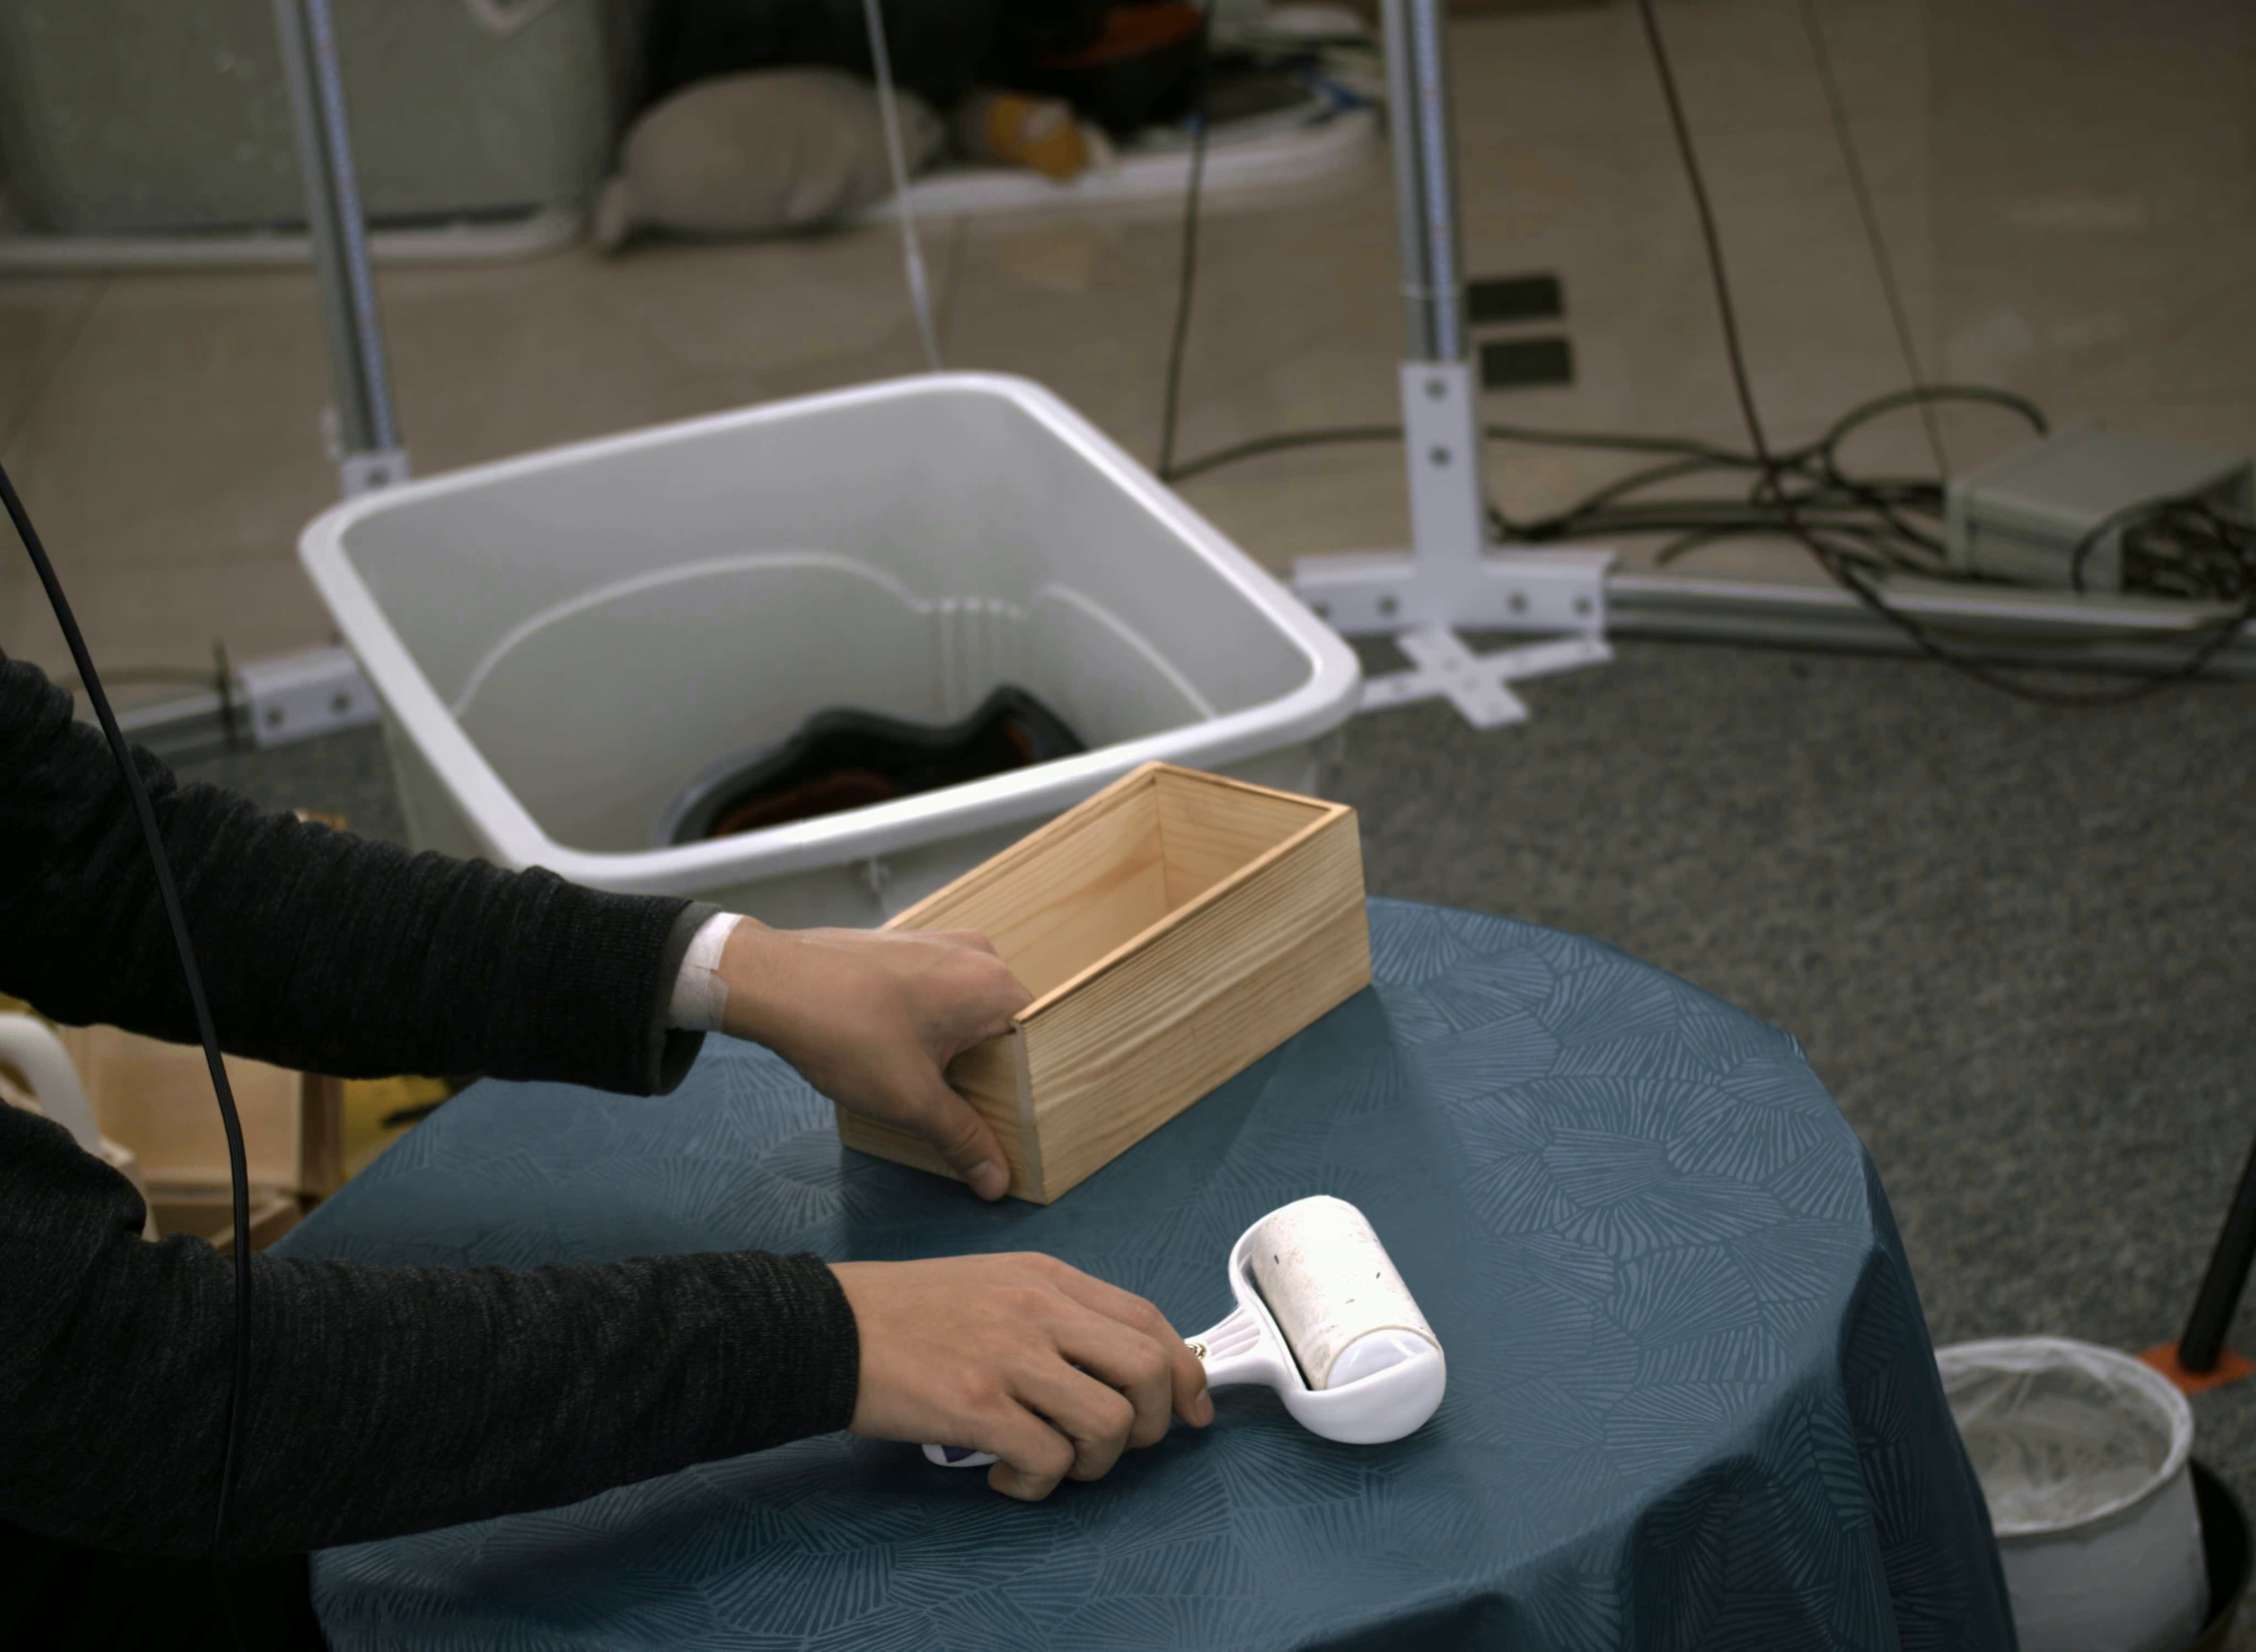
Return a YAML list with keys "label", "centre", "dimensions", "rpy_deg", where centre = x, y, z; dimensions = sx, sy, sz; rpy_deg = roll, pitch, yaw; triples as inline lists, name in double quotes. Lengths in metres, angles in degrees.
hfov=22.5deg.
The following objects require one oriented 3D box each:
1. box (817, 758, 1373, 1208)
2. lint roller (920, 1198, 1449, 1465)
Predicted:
- label: "box"
  centre: [-0.010, 0.059, 2.228]
  dimensions: [0.107, 0.081, 0.209]
  rpy_deg: [14, 33, 37]
- label: "lint roller"
  centre: [0.013, 0.184, 1.991]
  dimensions: [0.180, 0.051, 0.131]
  rpy_deg: [-8, 26, -8]
